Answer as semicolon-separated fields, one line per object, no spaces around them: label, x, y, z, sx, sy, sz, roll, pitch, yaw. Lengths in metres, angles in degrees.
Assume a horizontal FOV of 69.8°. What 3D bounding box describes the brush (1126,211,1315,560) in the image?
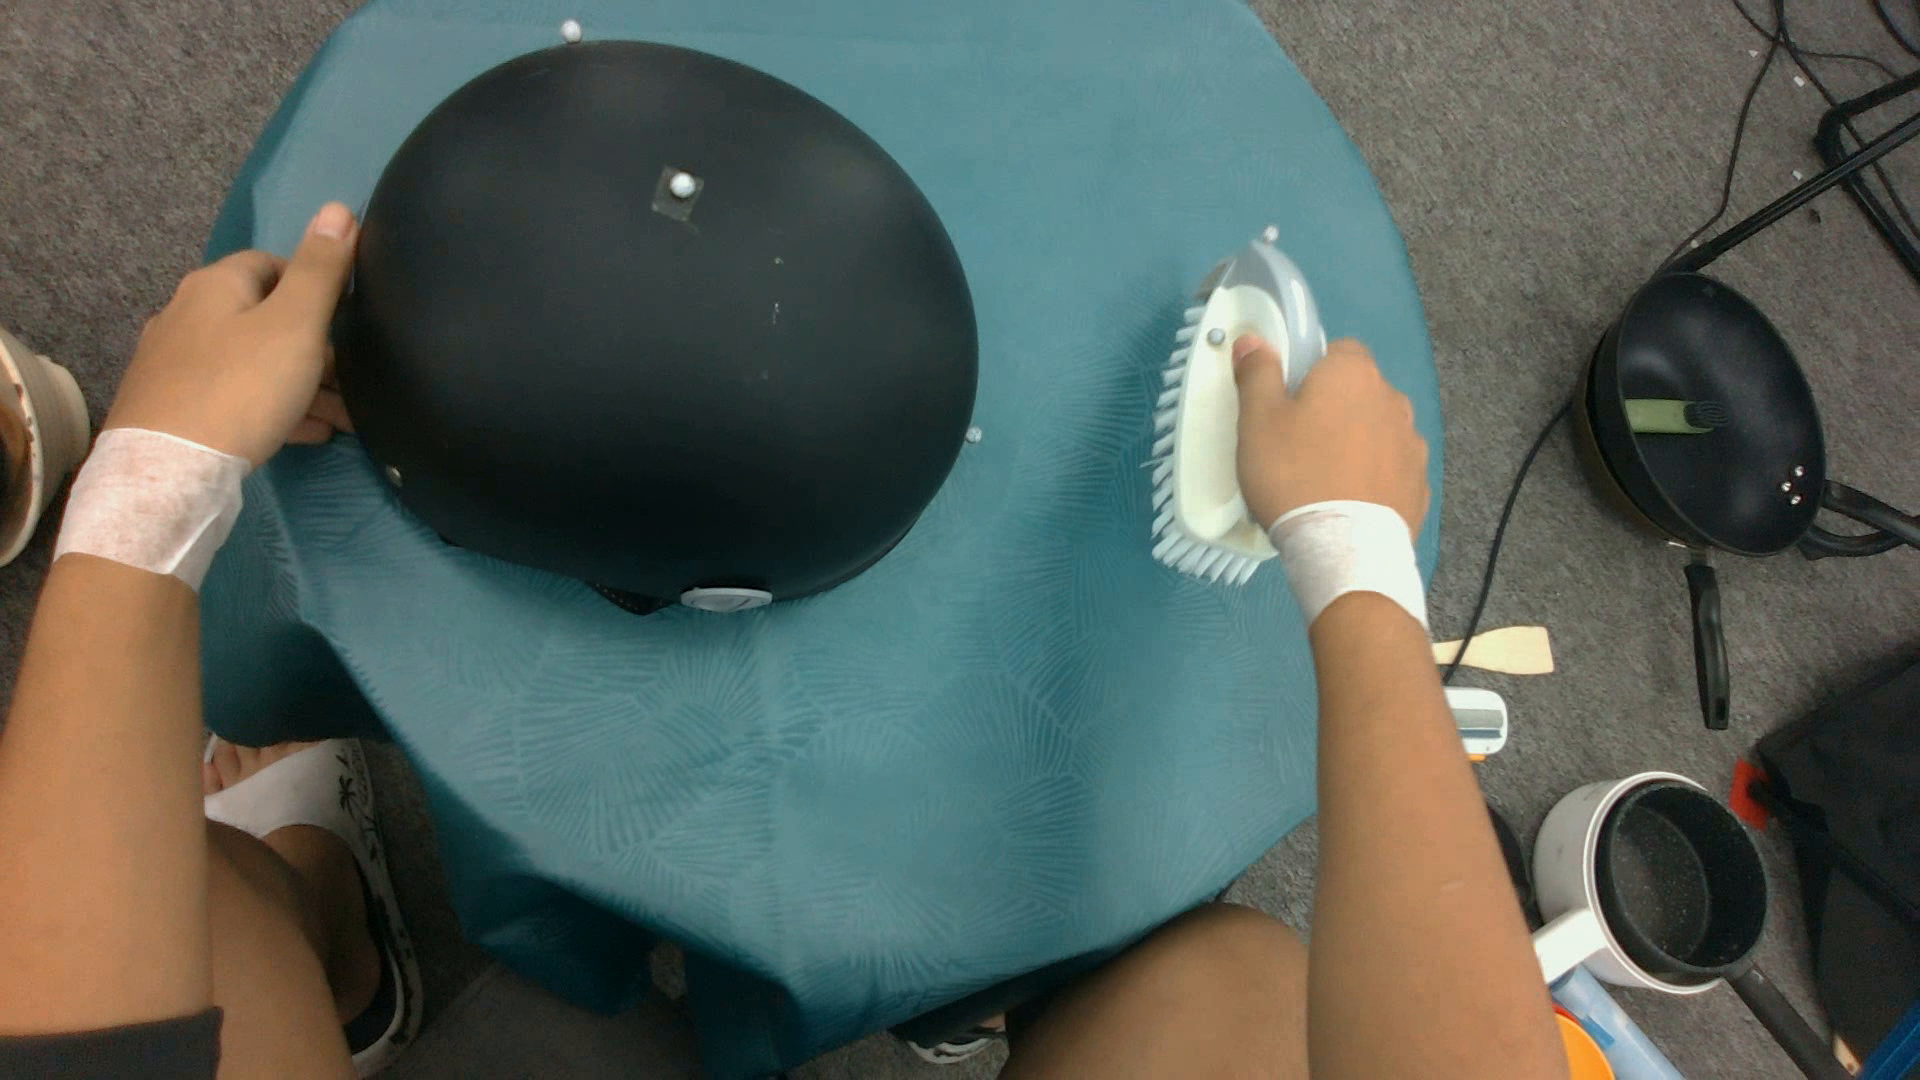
brush;0.123;-0.086;0.629;0.061;0.094;0.176;18;62;-20

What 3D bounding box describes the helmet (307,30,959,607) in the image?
helmet;-0.115;-0.098;0.556;0.273;0.166;0.230;15;71;-18
